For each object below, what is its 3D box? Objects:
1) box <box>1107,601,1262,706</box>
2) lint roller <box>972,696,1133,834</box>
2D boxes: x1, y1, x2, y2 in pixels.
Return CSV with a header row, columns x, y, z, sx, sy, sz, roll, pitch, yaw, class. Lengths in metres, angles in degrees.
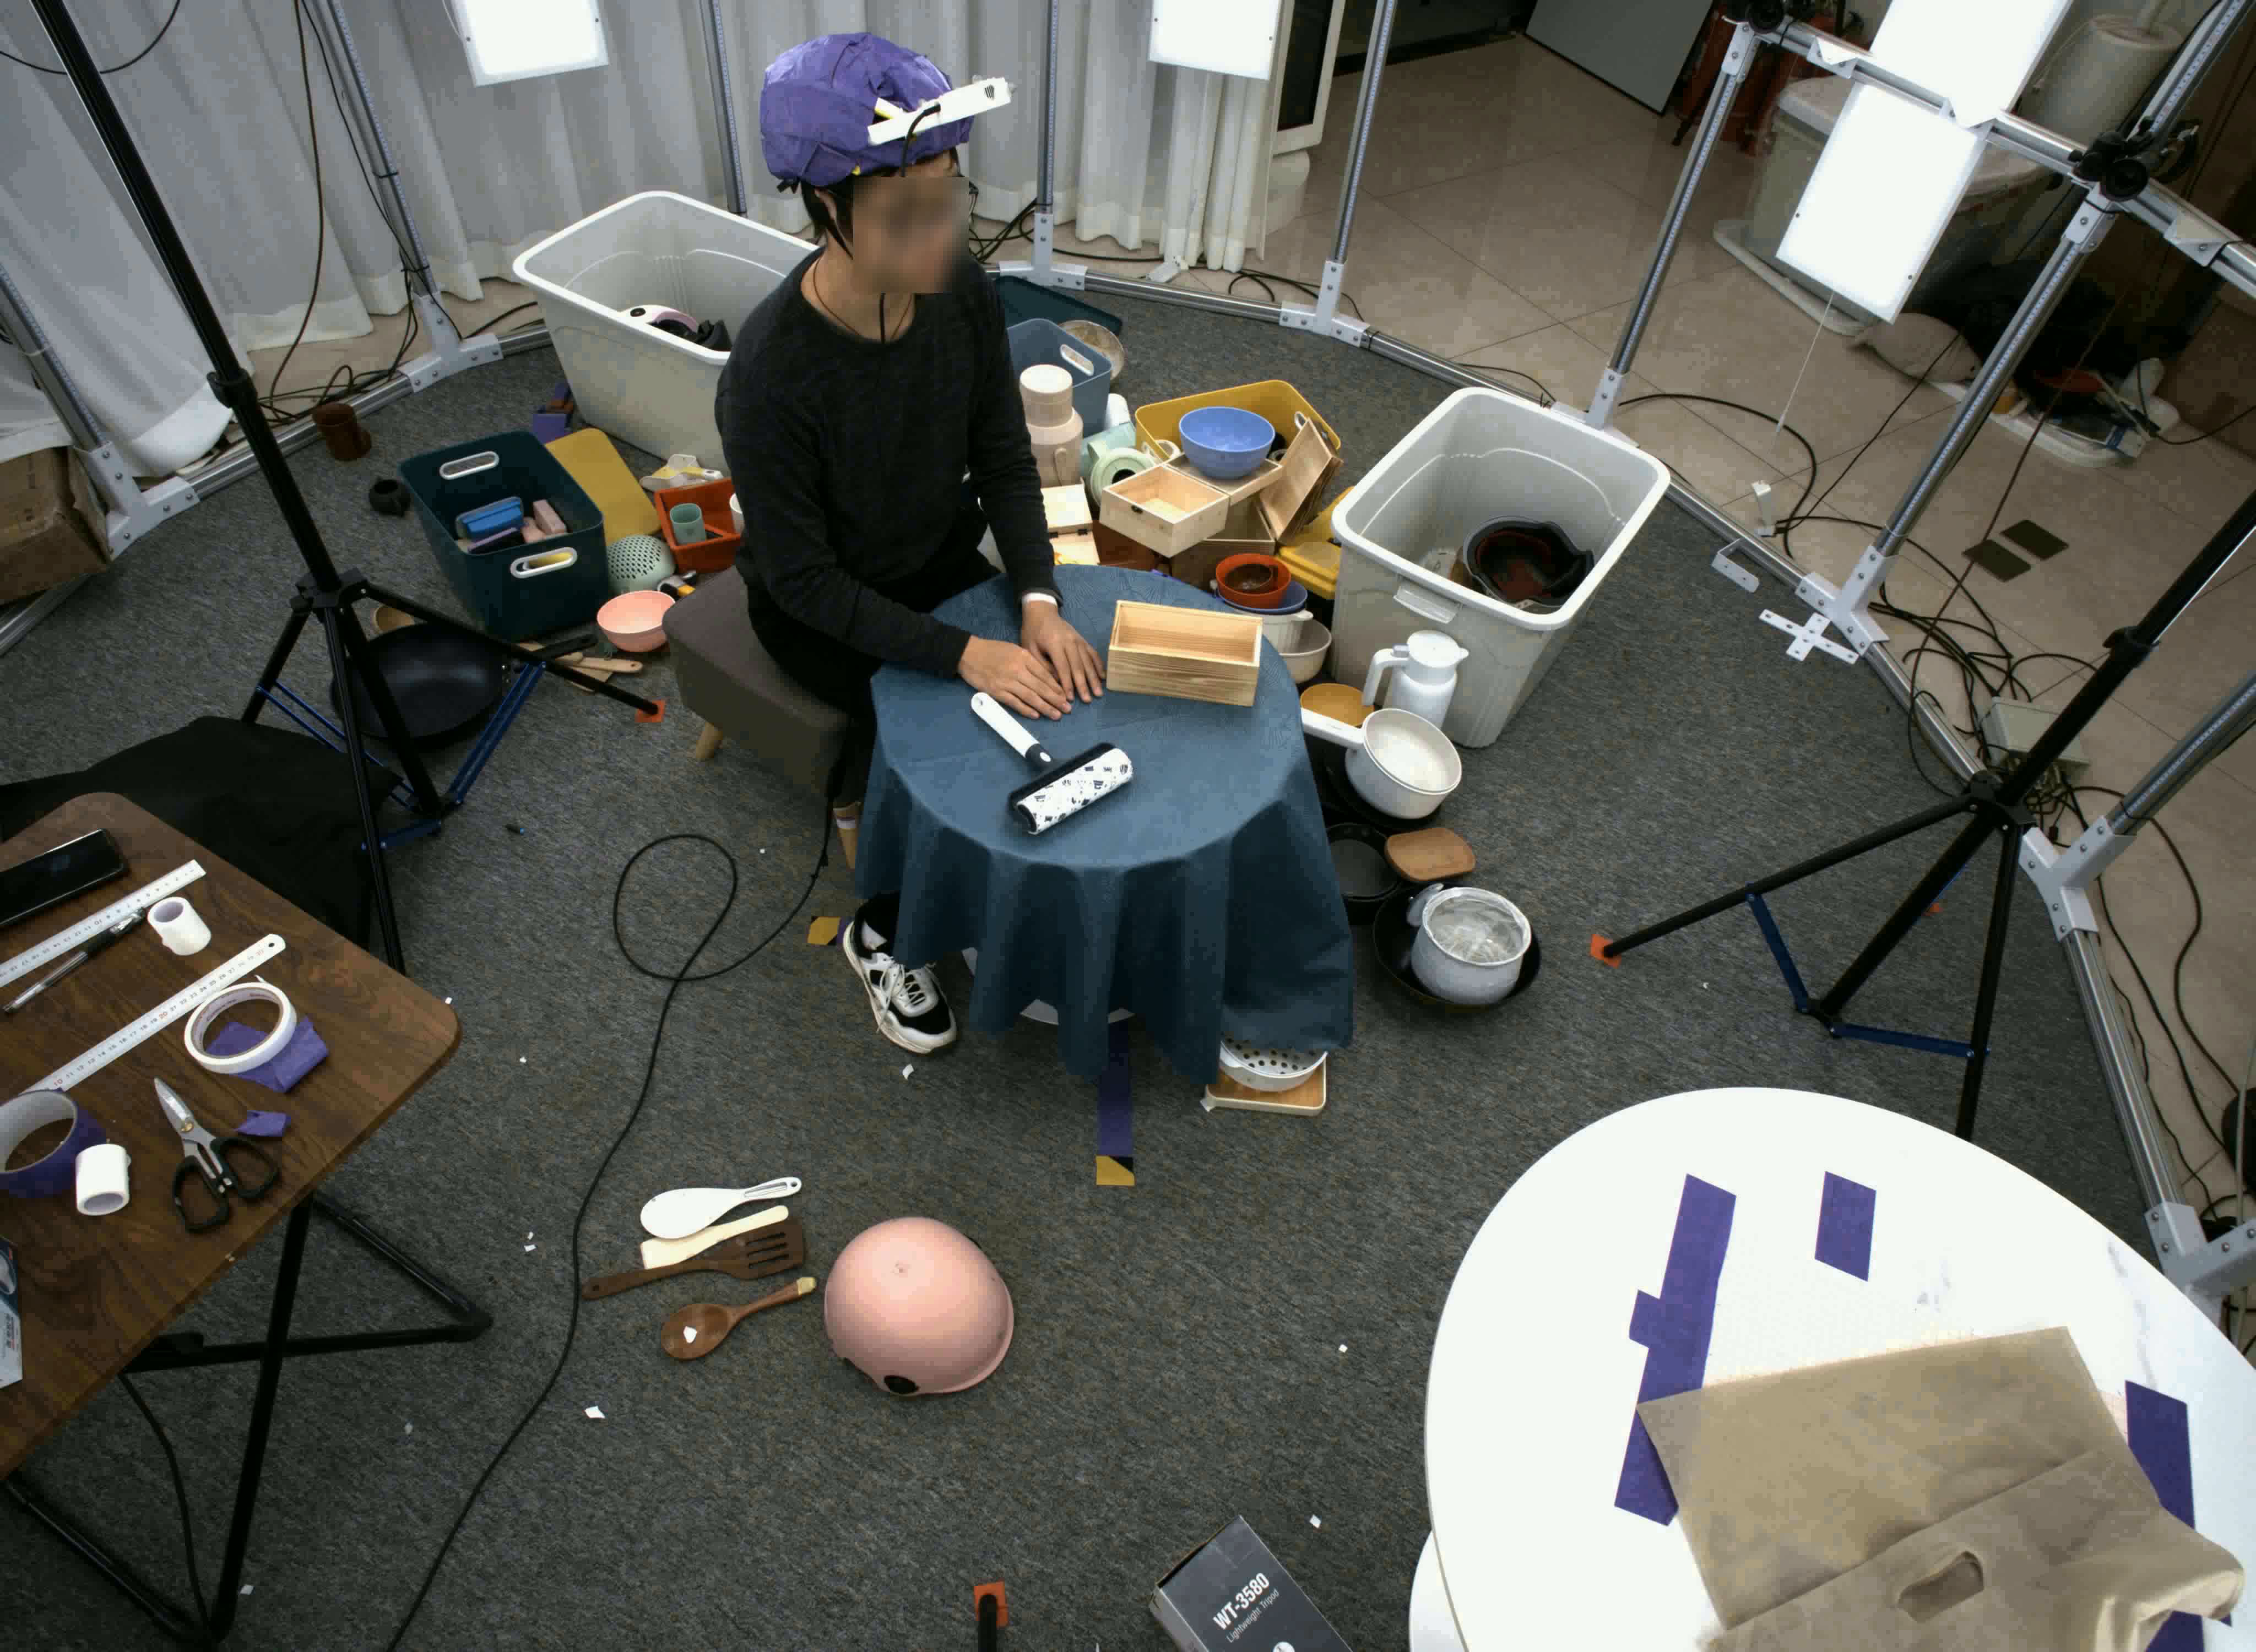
x,y,z,sx,sy,sz,roll,pitch,yaw,class
0.081,-0.247,1.839,0.211,0.078,0.110,7,49,2,box
-0.135,-0.106,1.725,0.177,0.049,0.251,-31,56,-26,lint roller
